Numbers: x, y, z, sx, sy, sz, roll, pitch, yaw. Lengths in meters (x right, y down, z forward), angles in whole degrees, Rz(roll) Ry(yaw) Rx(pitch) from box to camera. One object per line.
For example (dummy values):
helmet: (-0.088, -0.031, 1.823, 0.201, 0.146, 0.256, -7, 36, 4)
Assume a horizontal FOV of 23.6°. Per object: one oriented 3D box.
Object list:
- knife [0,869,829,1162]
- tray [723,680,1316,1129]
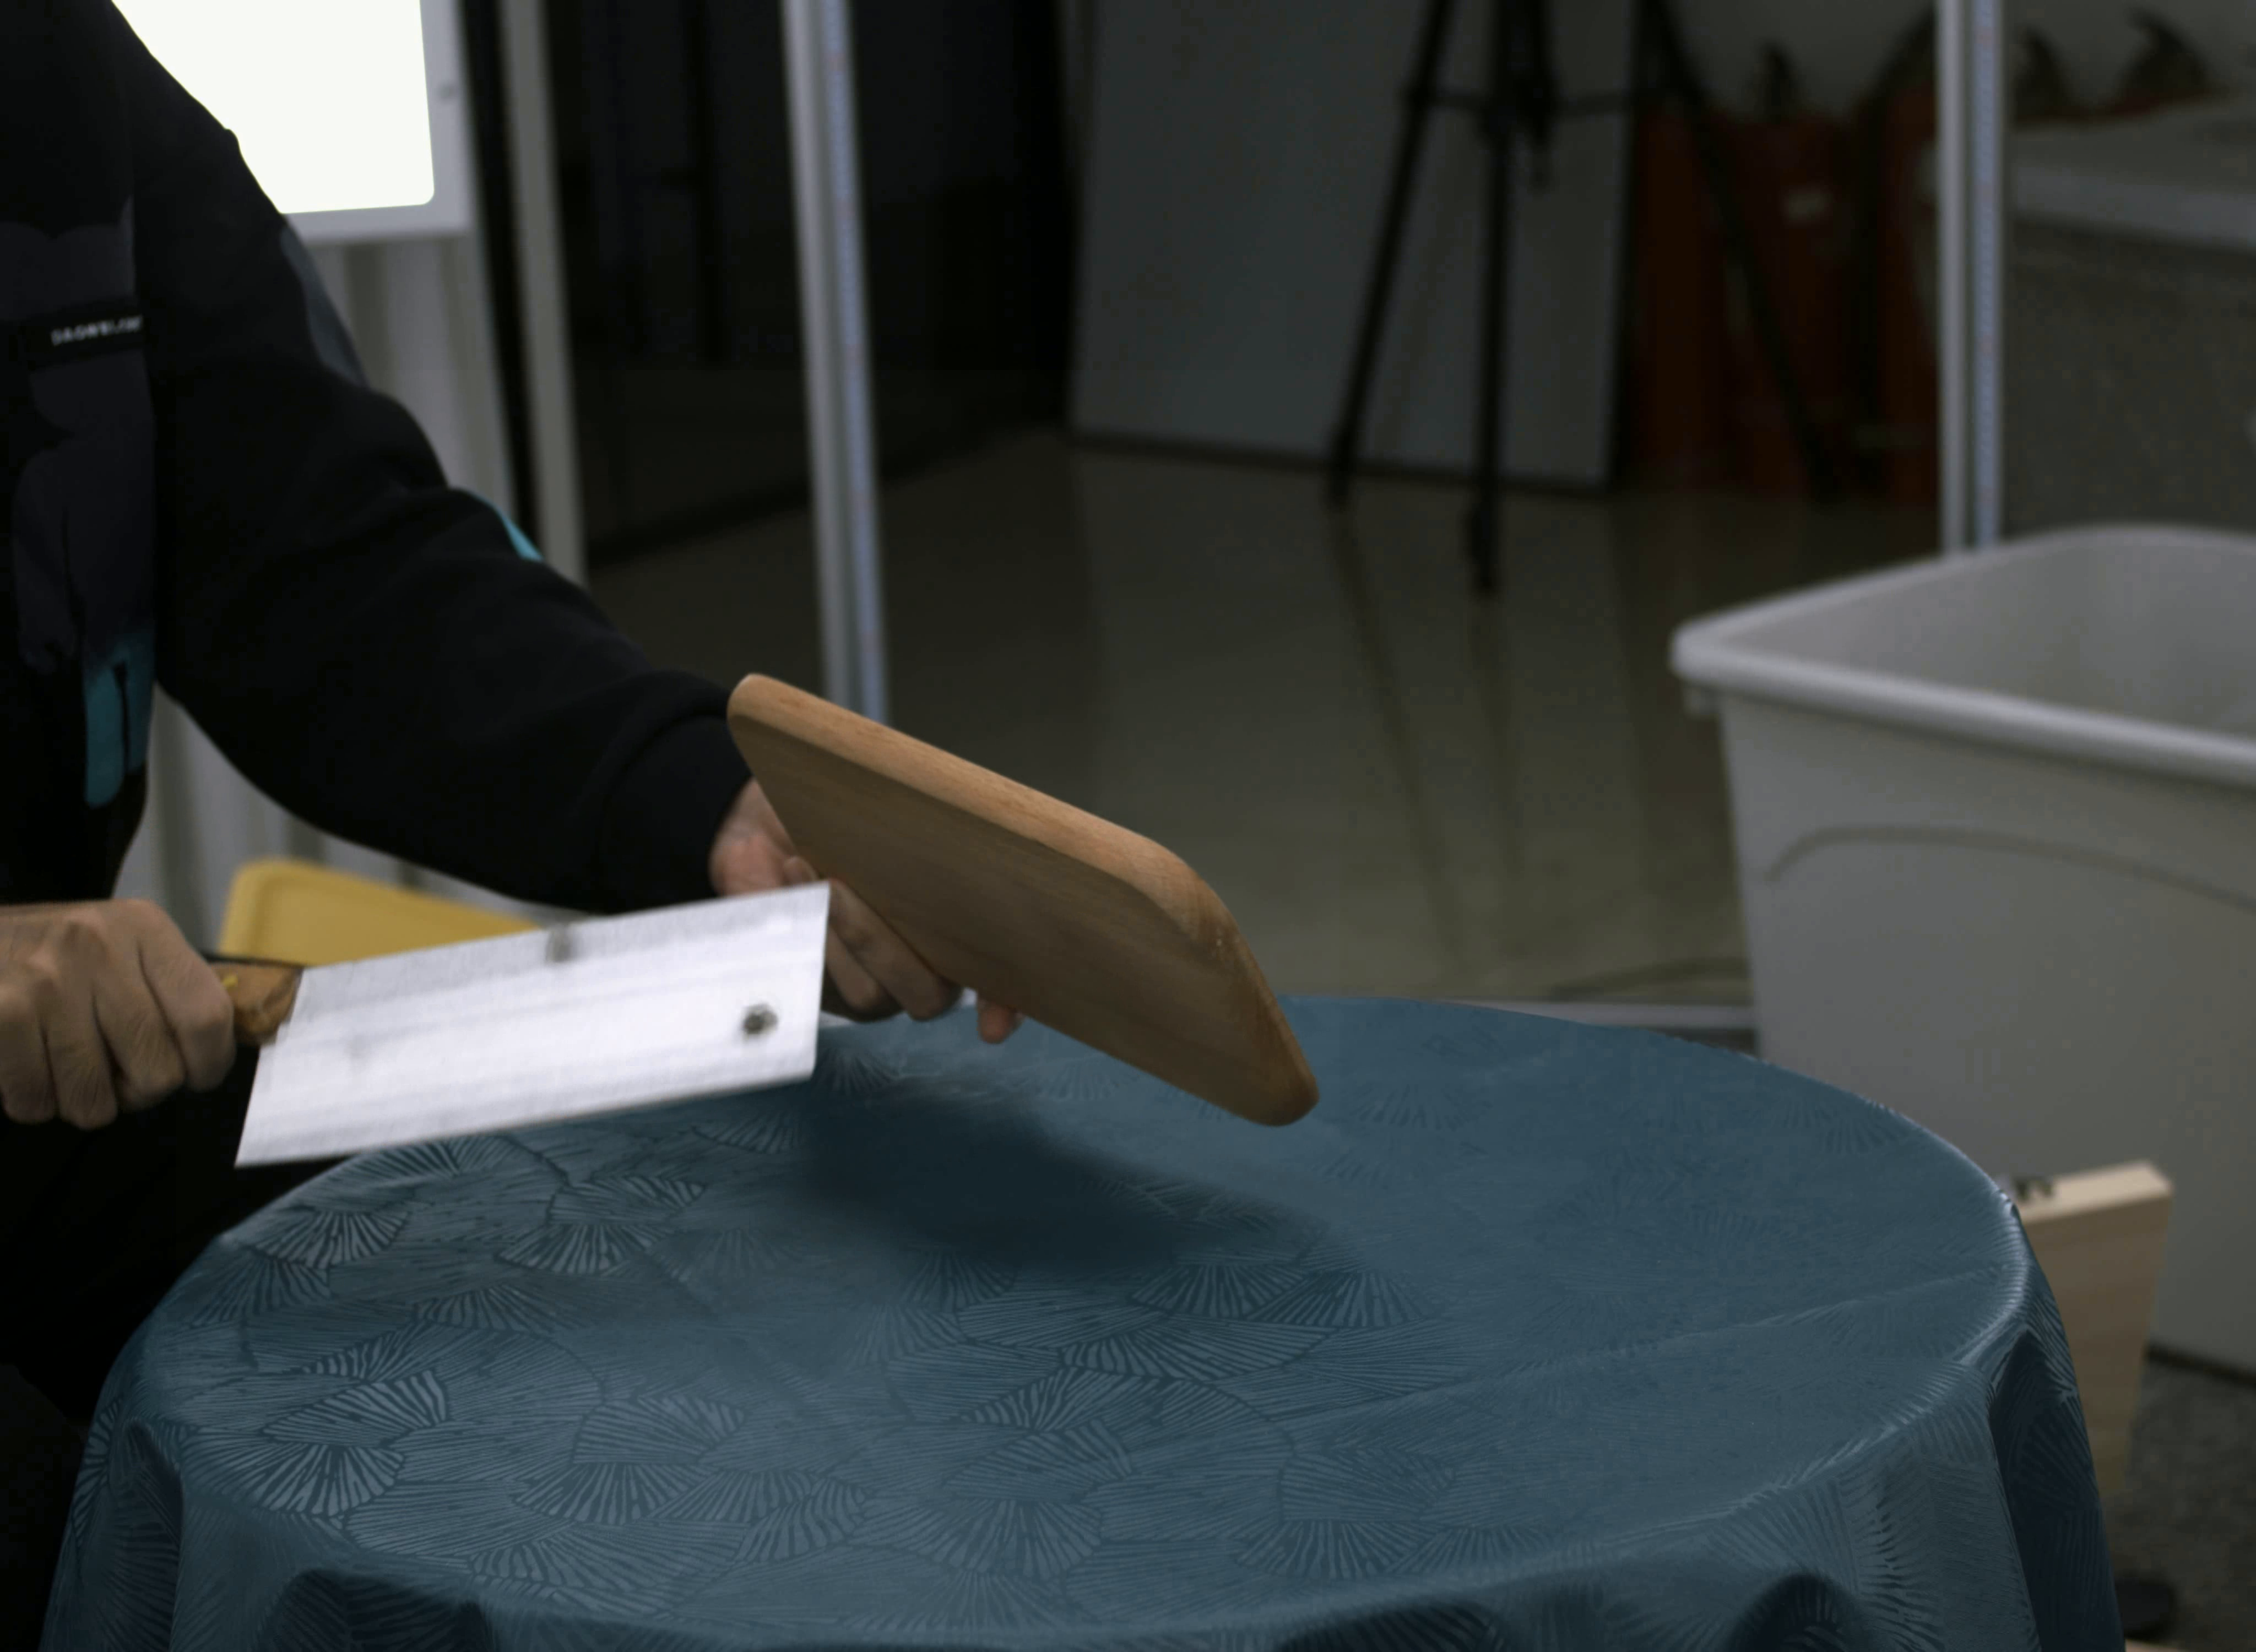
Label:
knife: (-0.241, 0.068, 1.727, 0.303, 0.021, 0.093, -11, 38, 10)
tray: (-0.040, 0.026, 1.776, 0.022, 0.130, 0.253, -42, 37, -24)
